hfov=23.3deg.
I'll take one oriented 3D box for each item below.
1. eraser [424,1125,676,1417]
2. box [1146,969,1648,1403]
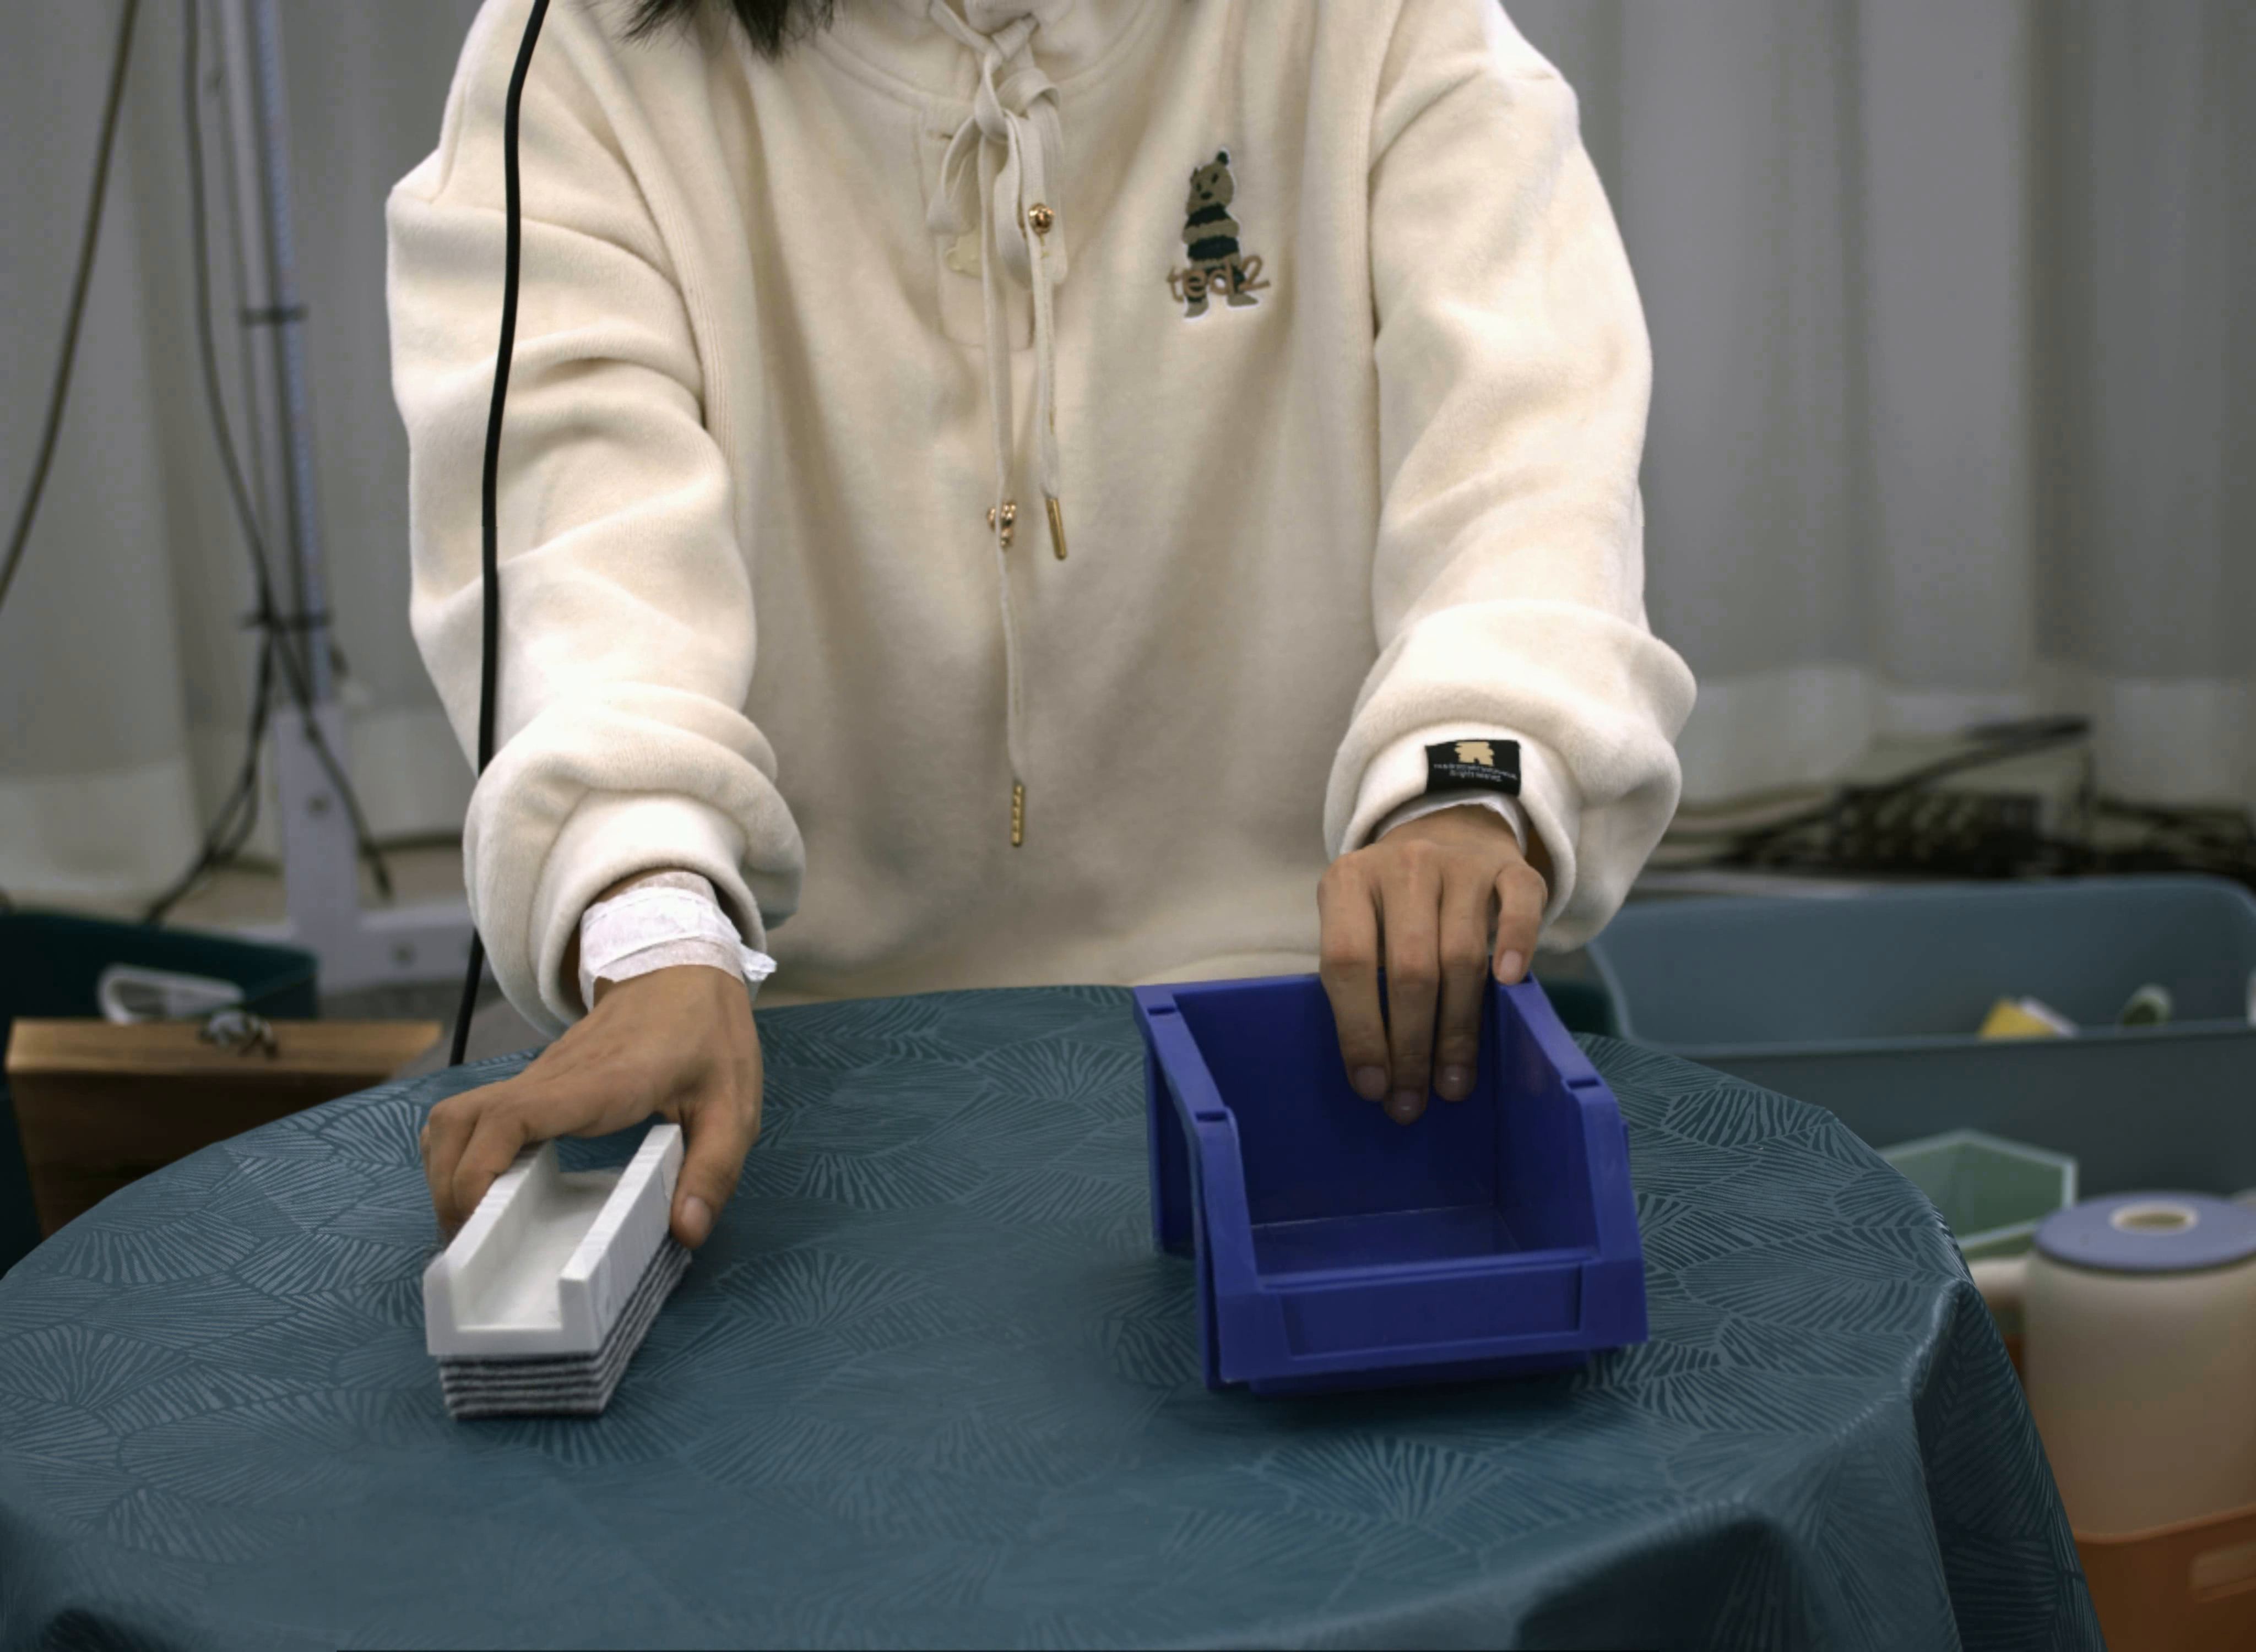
[{"bbox_3d":[-0.167,0.129,1.601,0.049,0.046,0.135,-5,16,6],"label":"eraser"},{"bbox_3d":[0.076,0.106,1.574,0.124,0.081,0.180,-4,13,-4],"label":"box"}]
